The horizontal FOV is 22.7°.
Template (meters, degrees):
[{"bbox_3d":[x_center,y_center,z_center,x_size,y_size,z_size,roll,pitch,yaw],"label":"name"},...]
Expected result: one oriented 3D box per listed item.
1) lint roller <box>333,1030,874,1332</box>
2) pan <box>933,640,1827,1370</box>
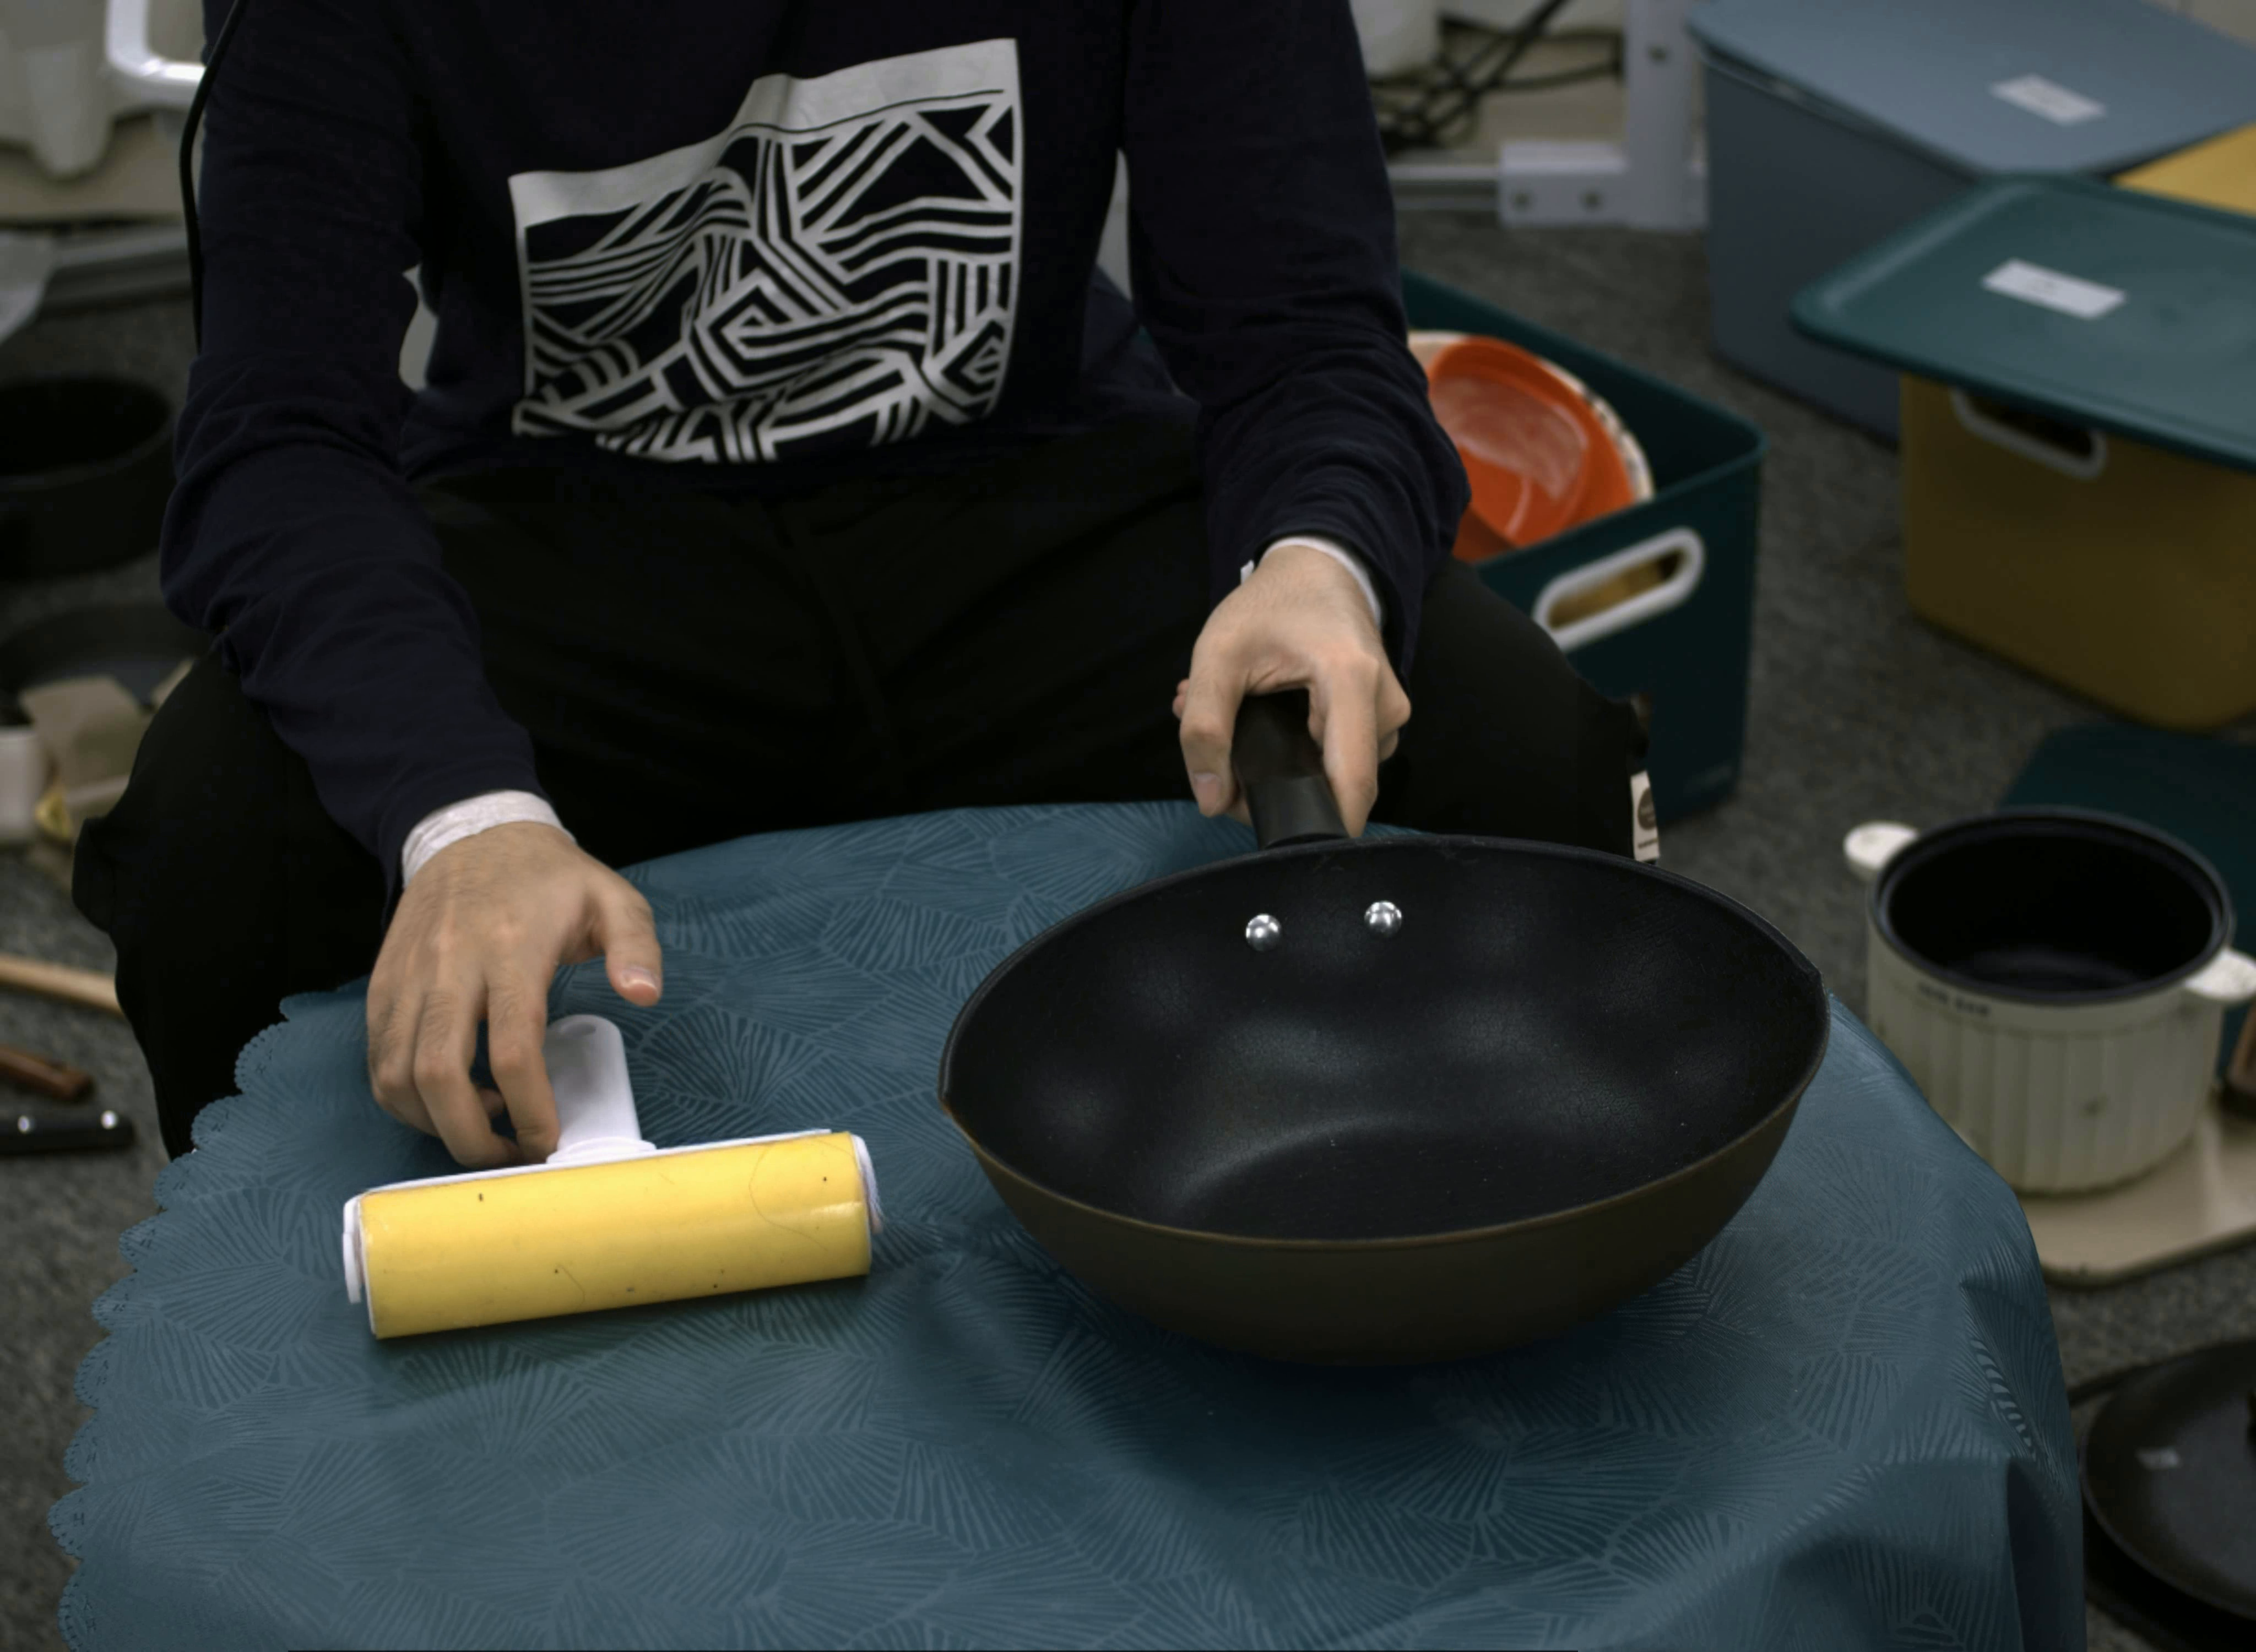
[{"bbox_3d":[-0.180,0.101,1.869,0.174,0.051,0.194,-6,27,-8],"label":"lint roller"},{"bbox_3d":[0.069,0.061,1.886,0.287,0.086,0.469,-6,25,-6],"label":"pan"}]
